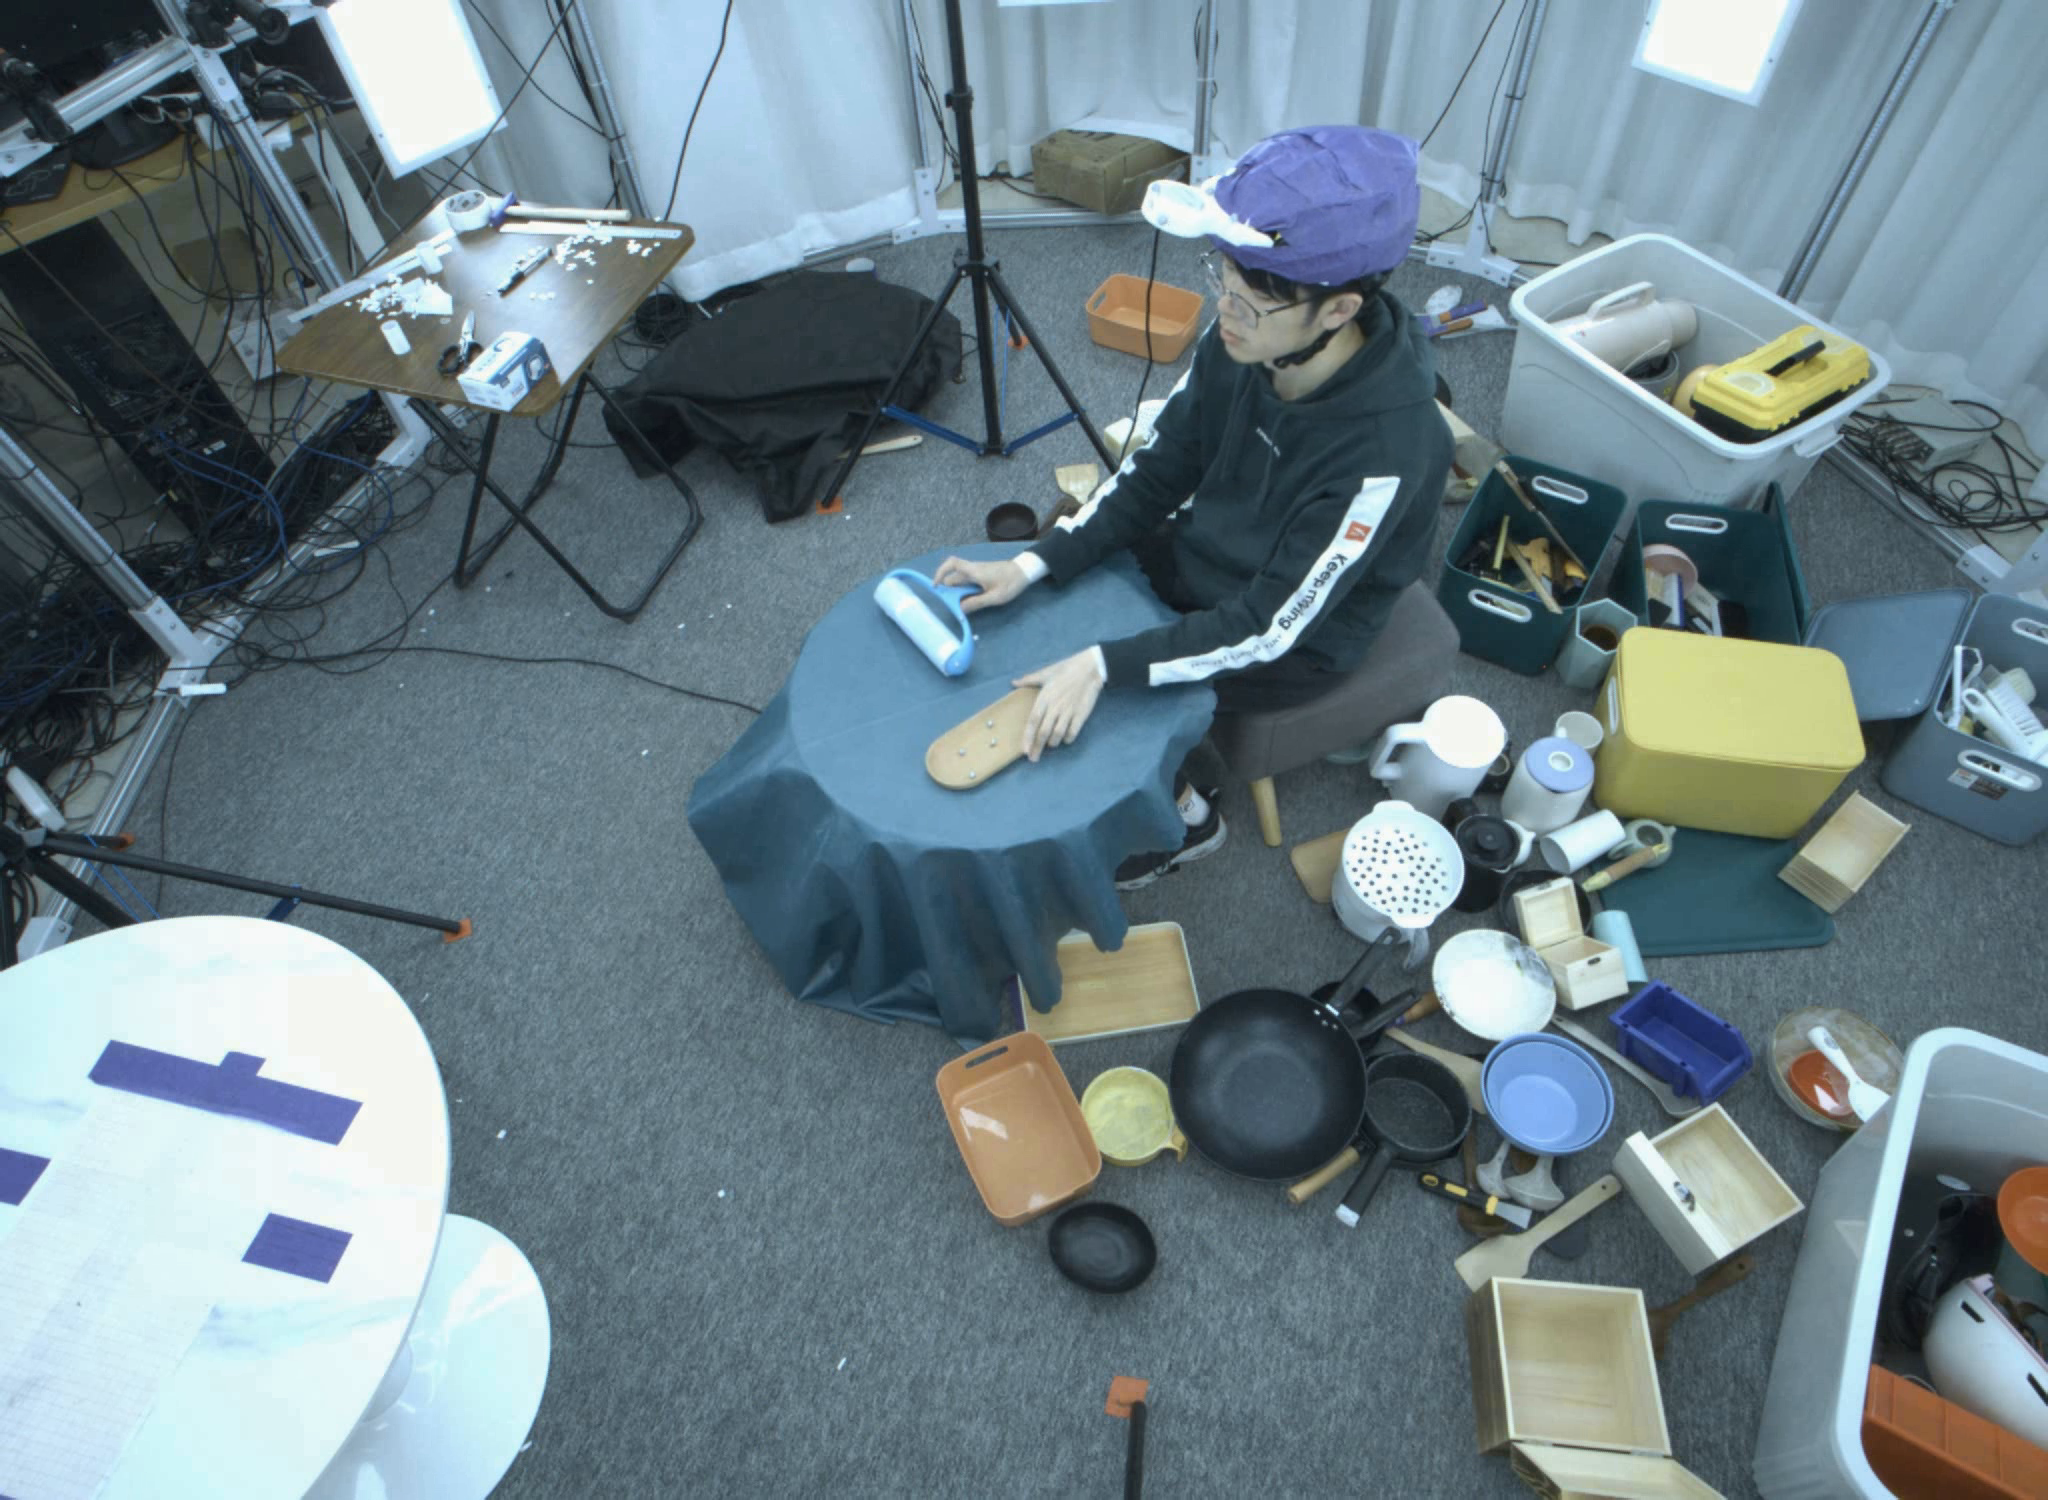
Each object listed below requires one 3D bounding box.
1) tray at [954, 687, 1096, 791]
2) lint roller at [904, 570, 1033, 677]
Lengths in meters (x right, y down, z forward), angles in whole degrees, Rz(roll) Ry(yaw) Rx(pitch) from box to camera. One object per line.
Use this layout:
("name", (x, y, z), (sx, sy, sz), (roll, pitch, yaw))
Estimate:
("tray", (0.003, -0.017, 1.785), (0.233, 0.020, 0.100), (-31, 60, -21))
("lint roller", (-0.065, -0.223, 1.908), (0.181, 0.069, 0.224), (-34, 59, -19))
